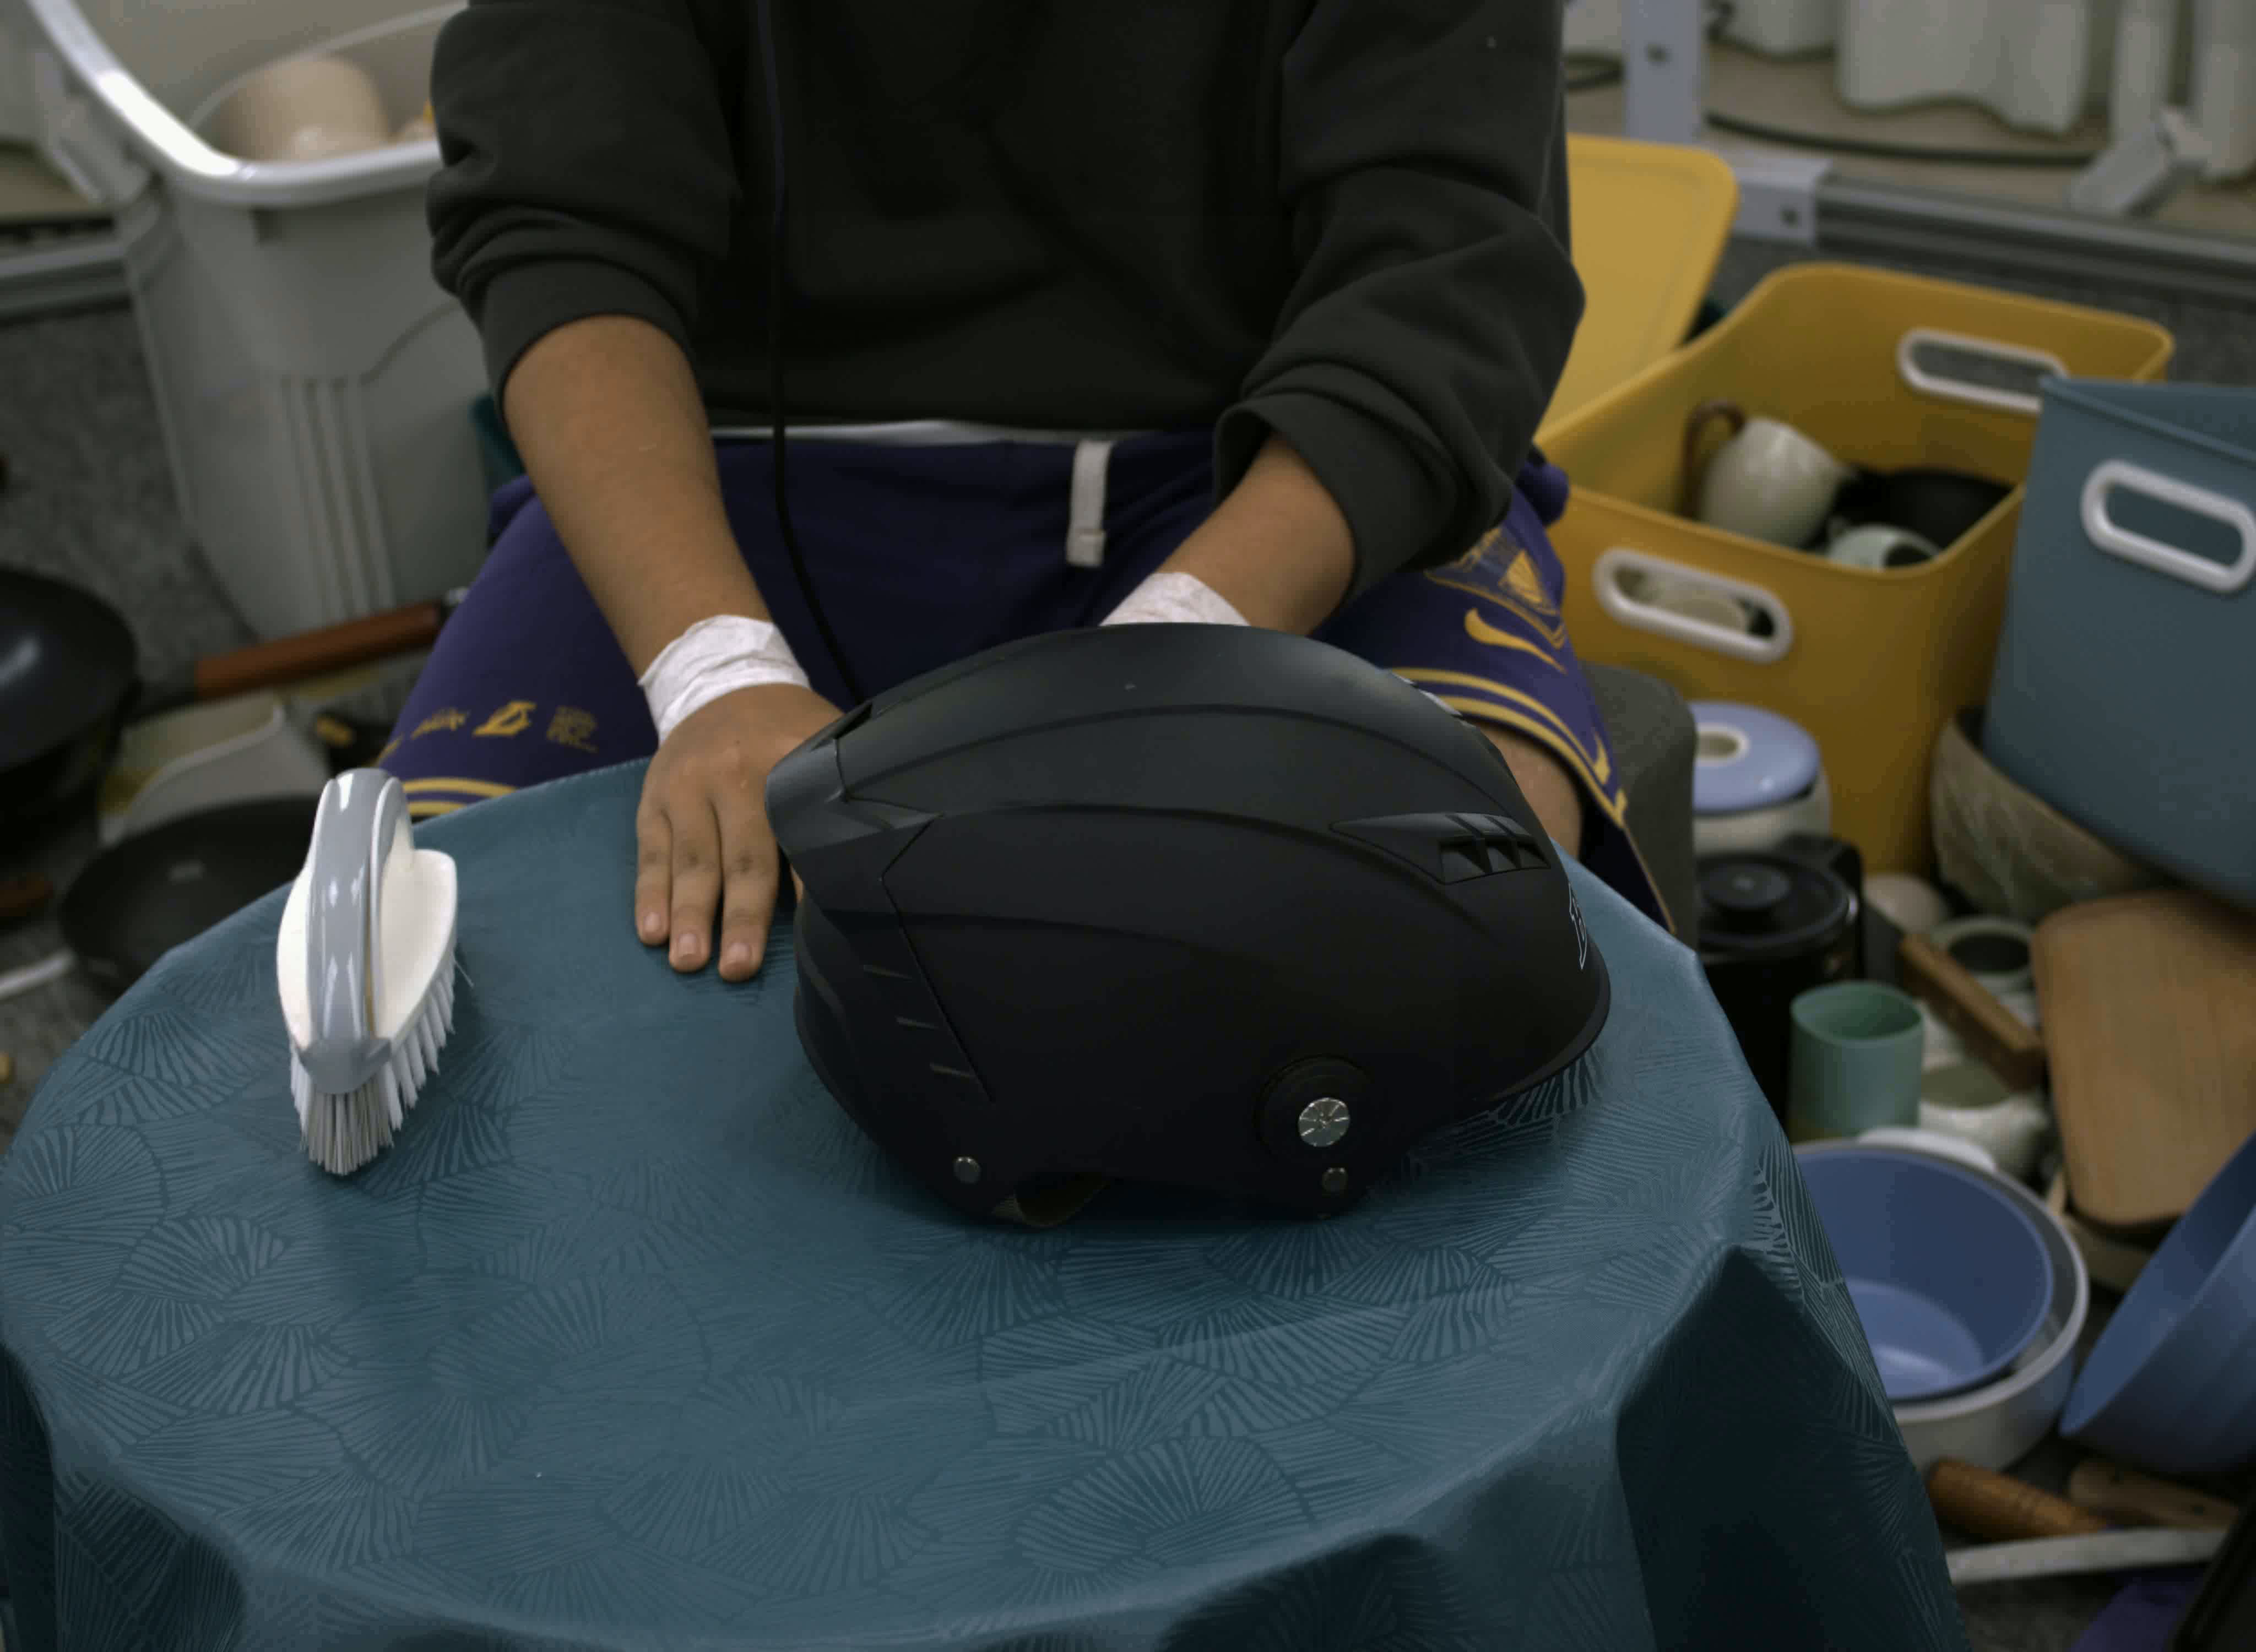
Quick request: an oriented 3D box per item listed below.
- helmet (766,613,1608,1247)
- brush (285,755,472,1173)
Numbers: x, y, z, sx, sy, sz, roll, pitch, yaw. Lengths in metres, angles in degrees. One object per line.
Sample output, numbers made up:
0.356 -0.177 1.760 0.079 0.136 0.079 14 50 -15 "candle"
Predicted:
0.019 0.016 1.894 0.275 0.170 0.250 -8 28 -1 "helmet"
-0.265 0.040 1.948 0.061 0.093 0.178 -4 29 1 "brush"
